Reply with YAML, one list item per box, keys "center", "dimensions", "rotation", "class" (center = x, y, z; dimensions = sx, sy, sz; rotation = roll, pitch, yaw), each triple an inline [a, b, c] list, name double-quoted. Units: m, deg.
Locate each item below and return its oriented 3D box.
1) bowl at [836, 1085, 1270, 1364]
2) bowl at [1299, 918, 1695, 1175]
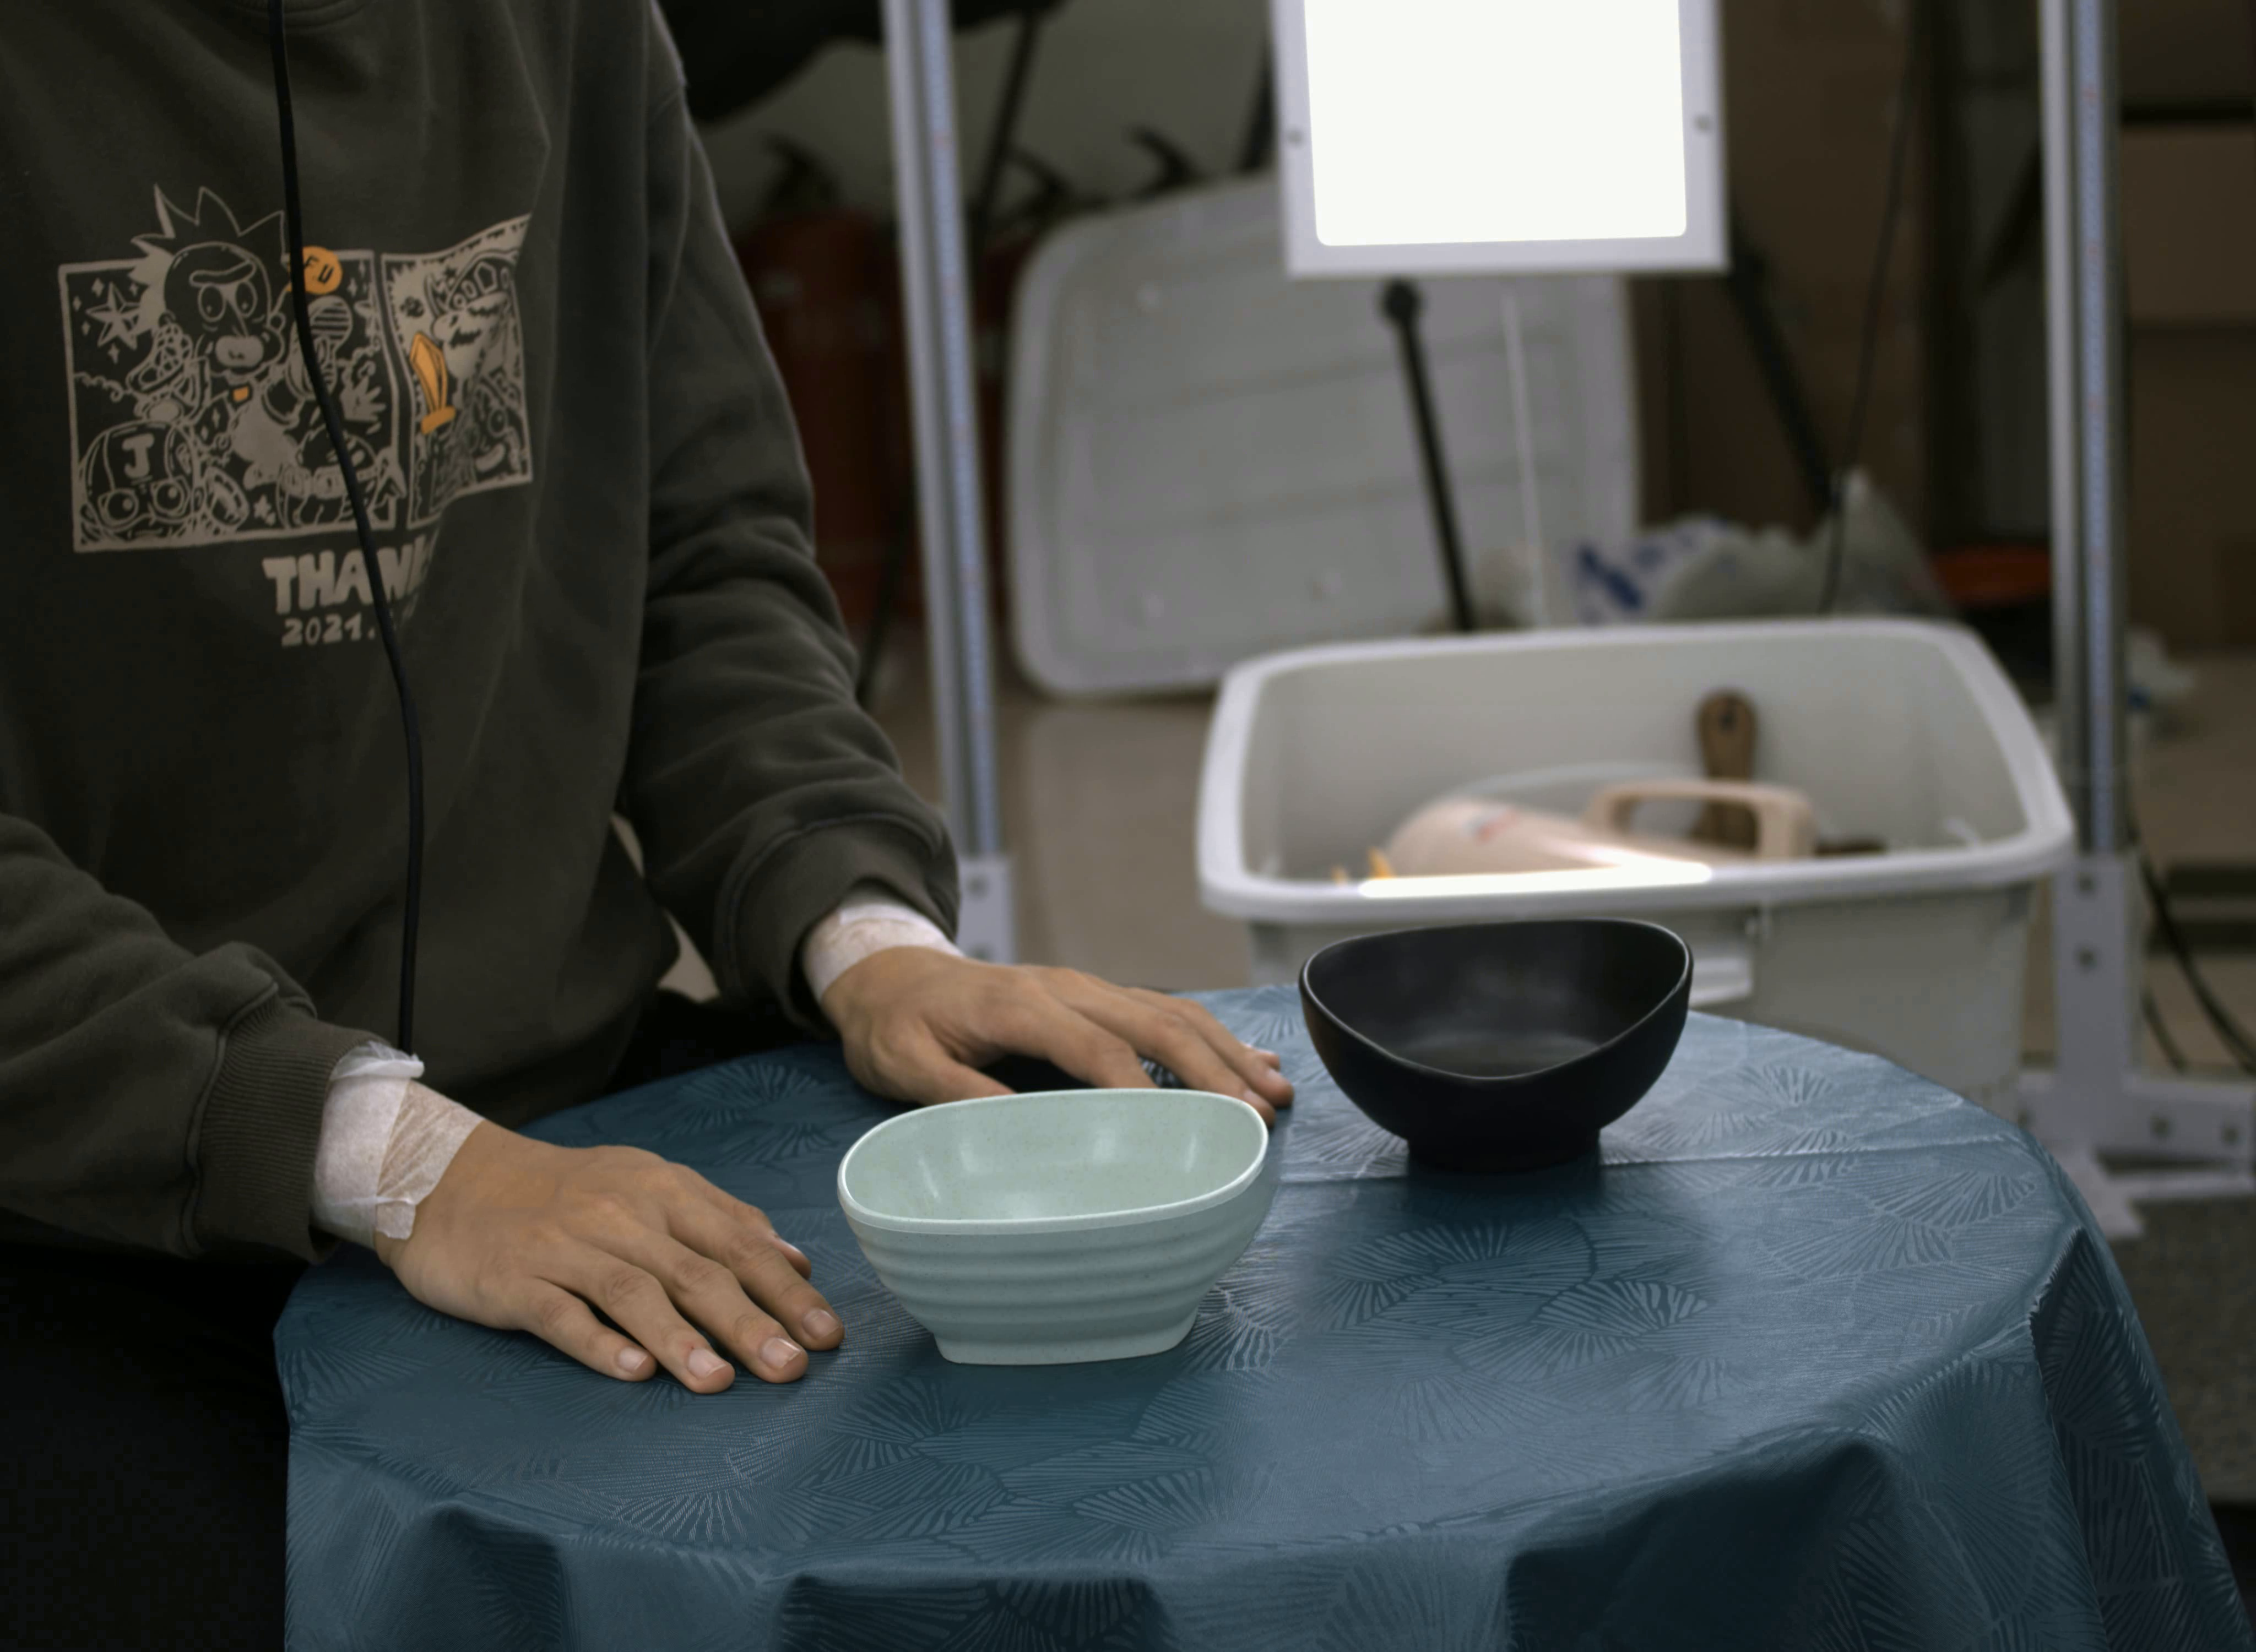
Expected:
- center: [-0.023, 0.131, 1.765]
  dimensions: [0.151, 0.059, 0.151]
  rotation: [-3, 15, -1]
  class: "bowl"
- center: [0.130, 0.080, 1.906]
  dimensions: [0.137, 0.067, 0.169]
  rotation: [-4, 15, 3]
  class: "bowl"
